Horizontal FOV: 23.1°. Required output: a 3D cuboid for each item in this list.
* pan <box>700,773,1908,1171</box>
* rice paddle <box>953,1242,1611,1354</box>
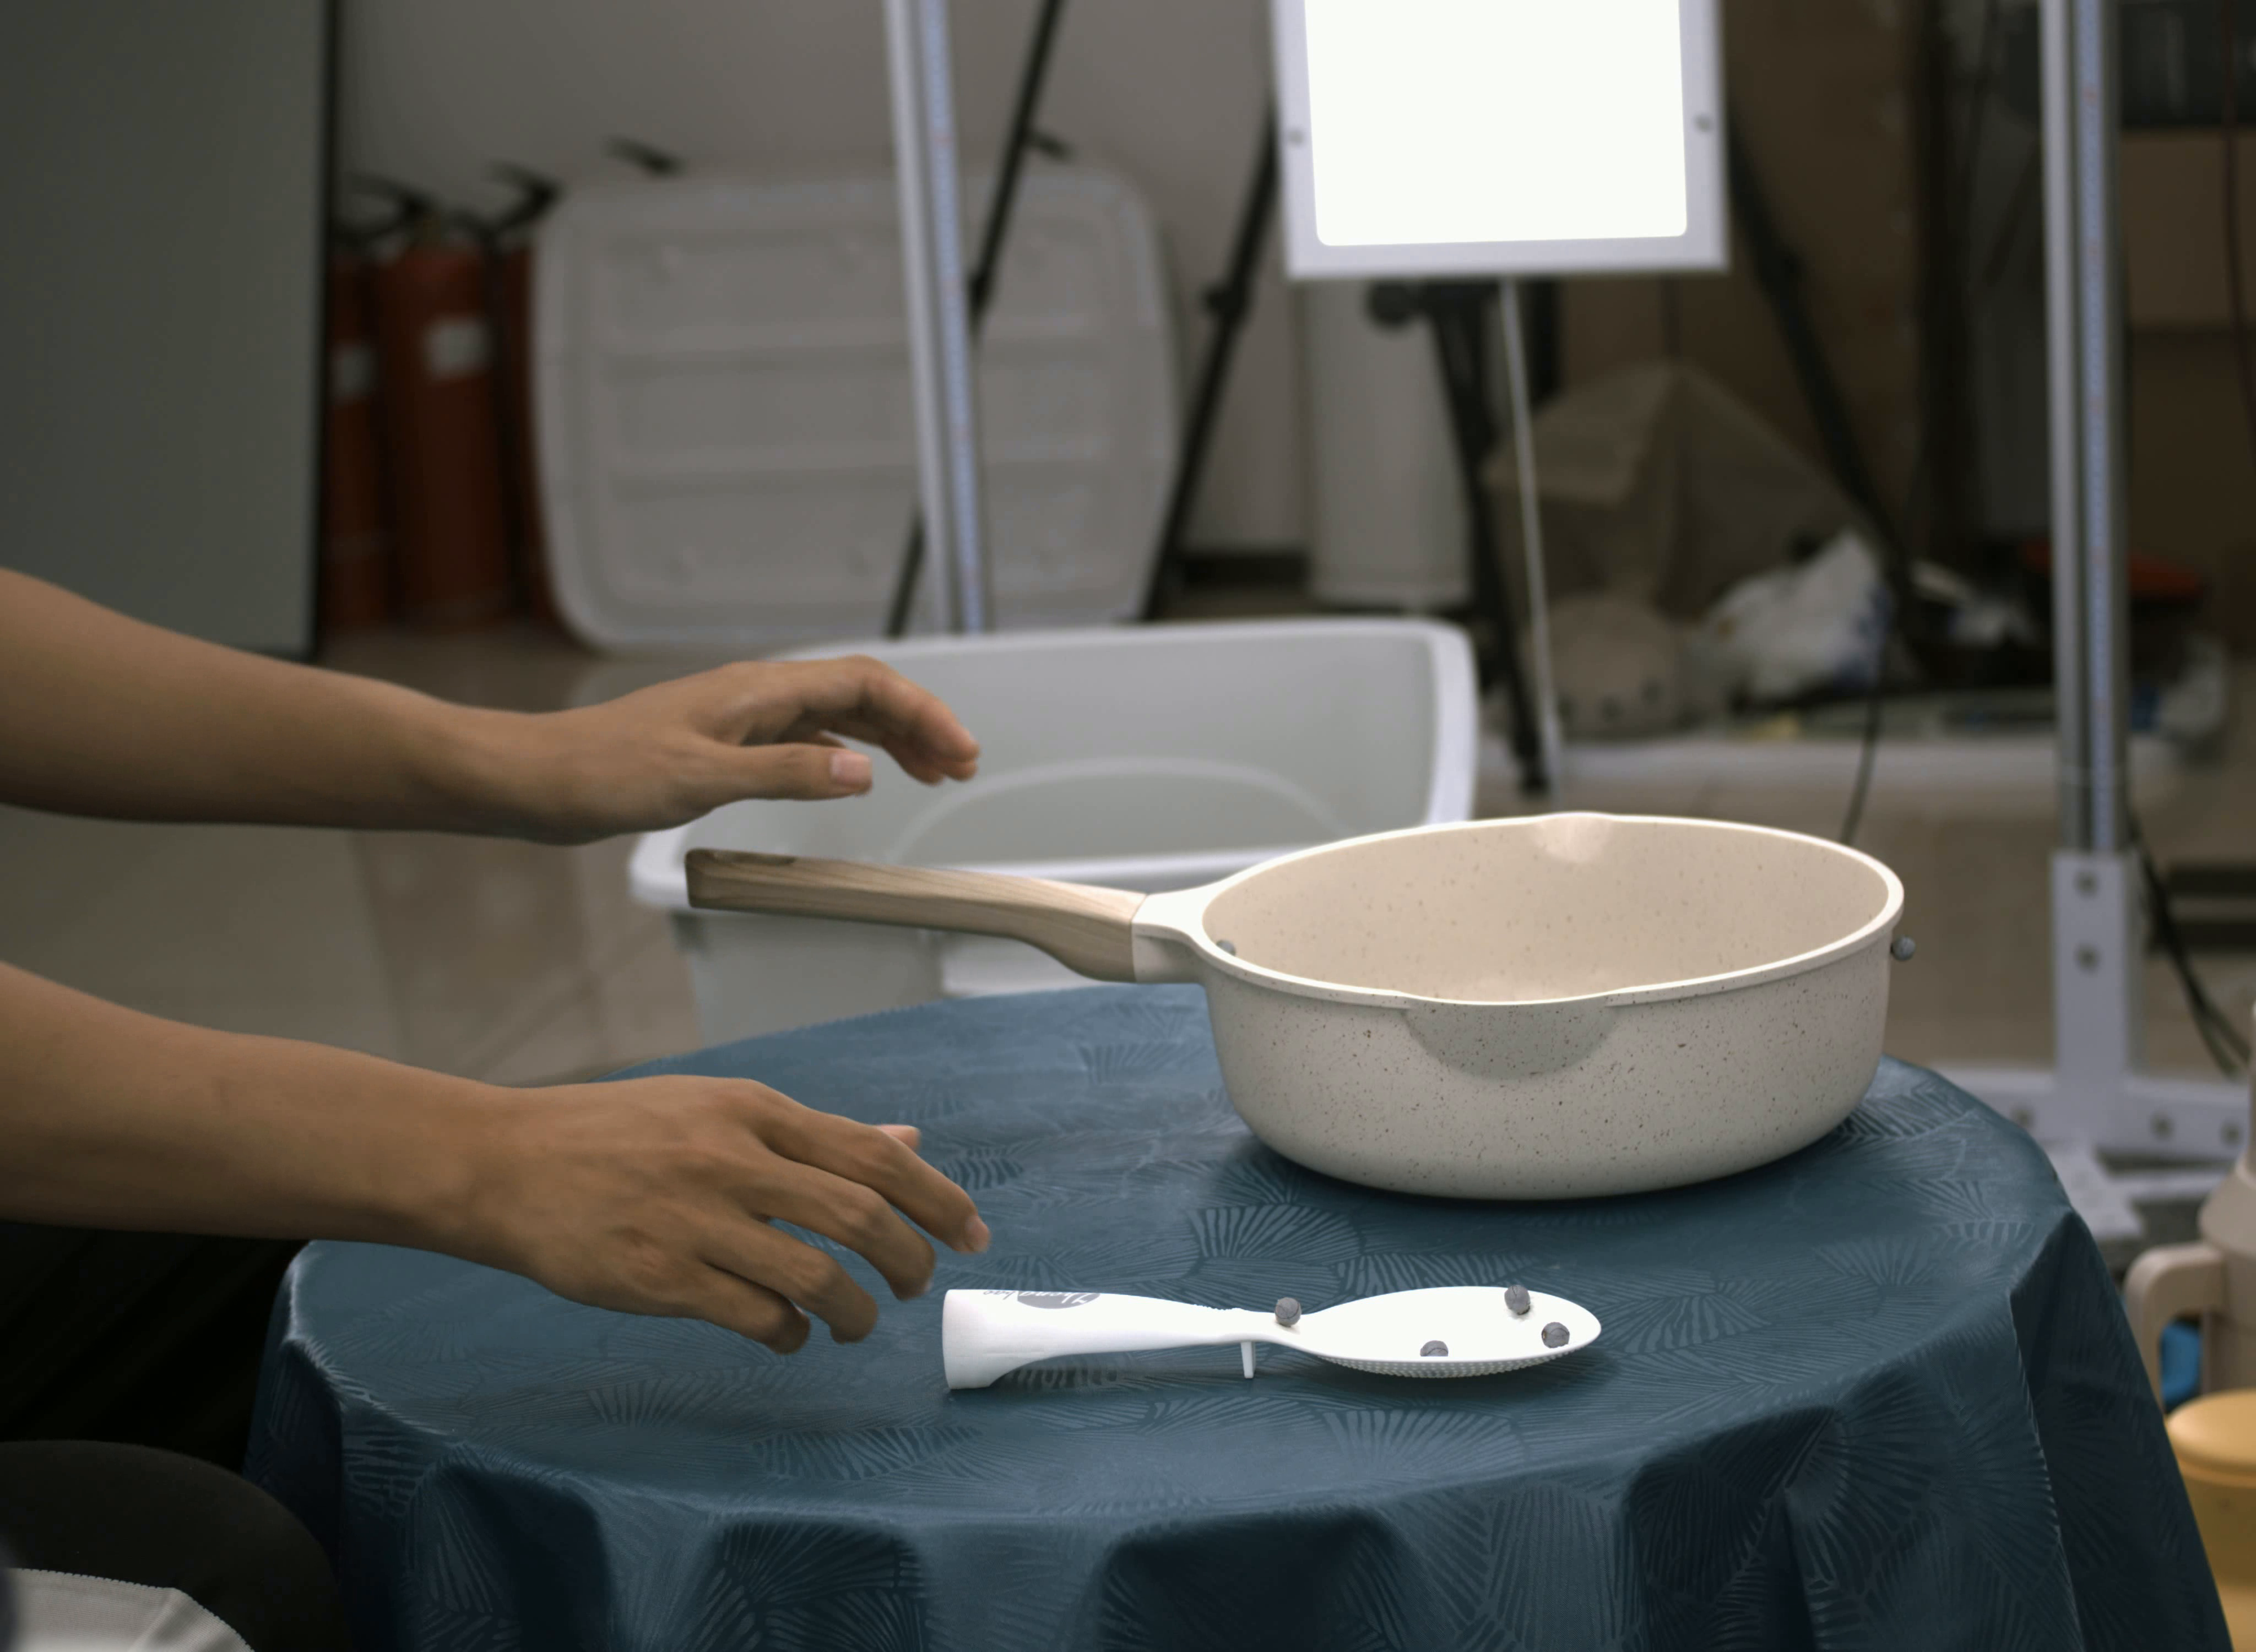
[{"bbox_3d":[0.063,0.050,1.968,0.438,0.102,0.260,-3,15,12],"label":"pan"},{"bbox_3d":[0.048,0.144,1.714,0.206,0.029,0.068,-3,15,8],"label":"rice paddle"}]
